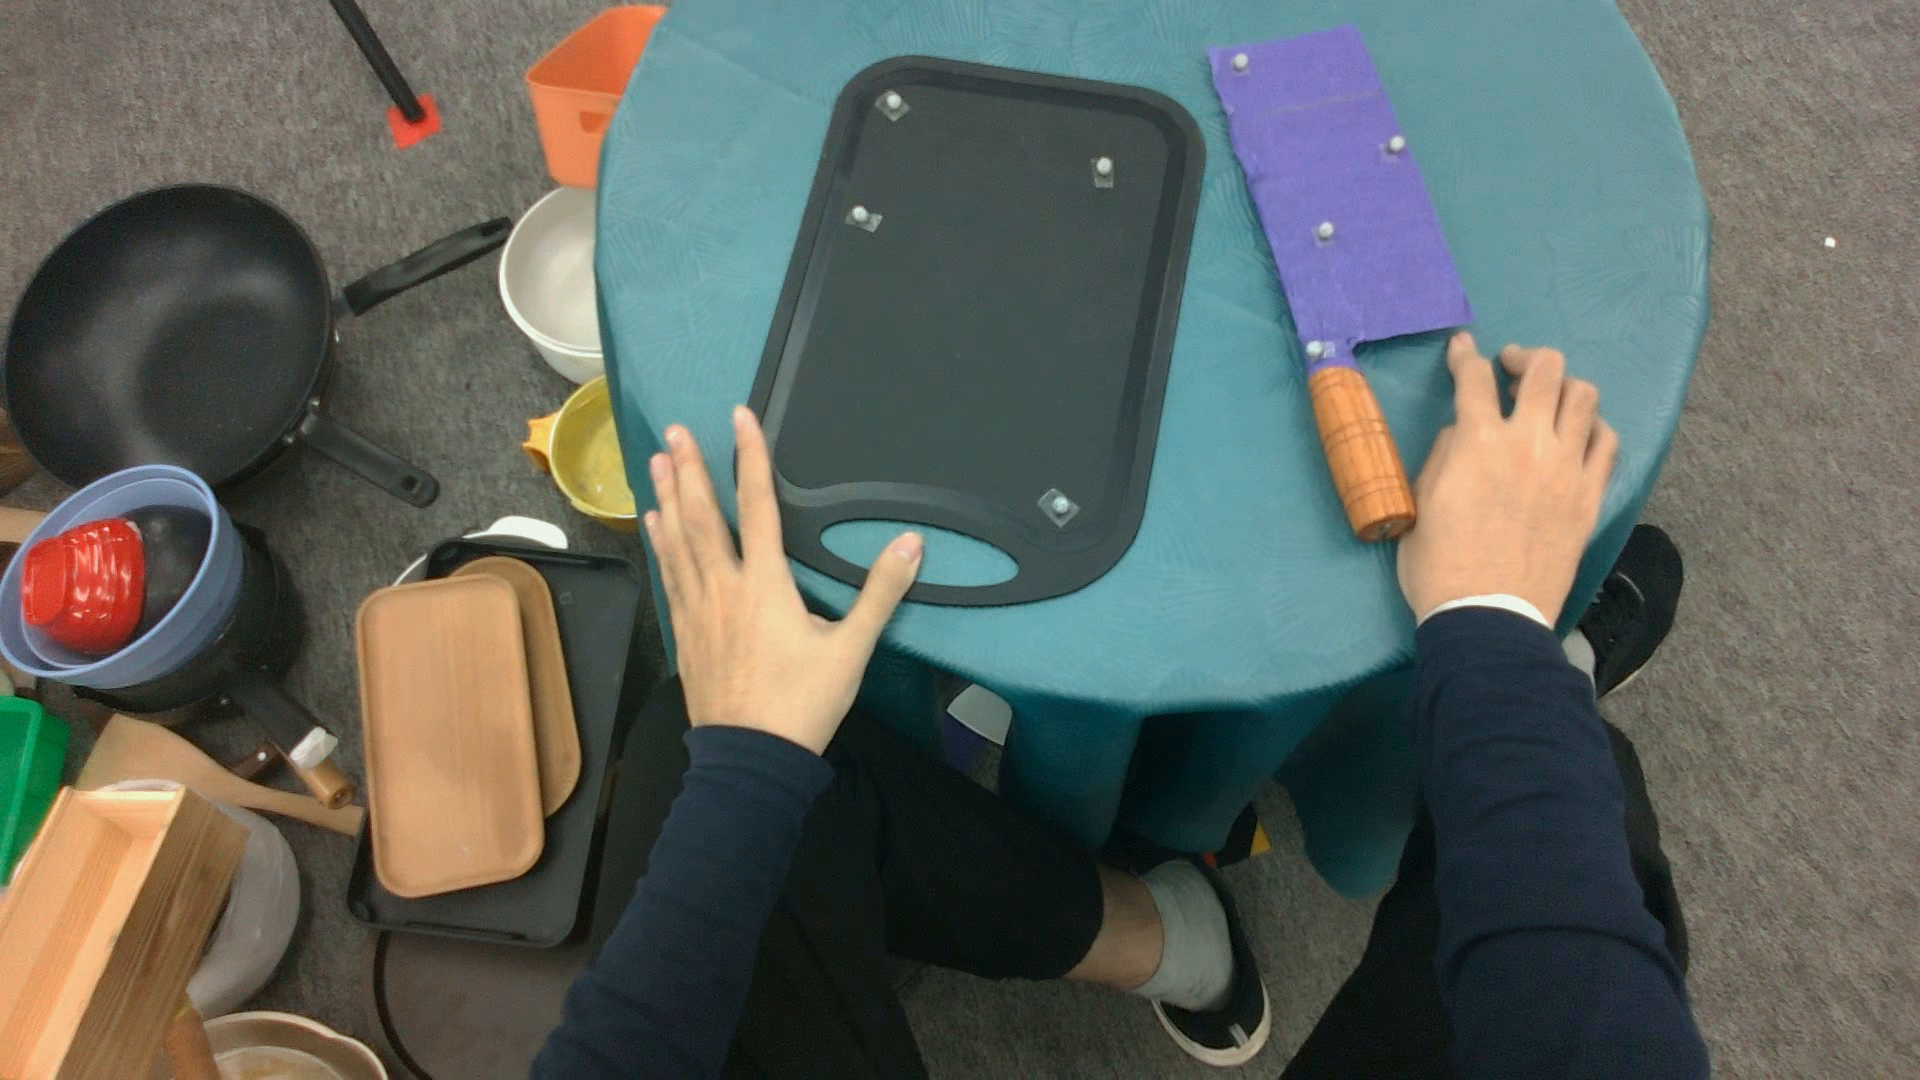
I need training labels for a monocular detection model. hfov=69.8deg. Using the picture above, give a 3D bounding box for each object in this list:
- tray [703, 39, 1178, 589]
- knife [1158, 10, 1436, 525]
[{"bbox_3d":[-0.006,-0.128,0.722,0.211,0.010,0.326,11,68,5],"label":"tray"},{"bbox_3d":[0.193,-0.159,0.723,0.104,0.032,0.316,-11,67,-4],"label":"knife"}]
